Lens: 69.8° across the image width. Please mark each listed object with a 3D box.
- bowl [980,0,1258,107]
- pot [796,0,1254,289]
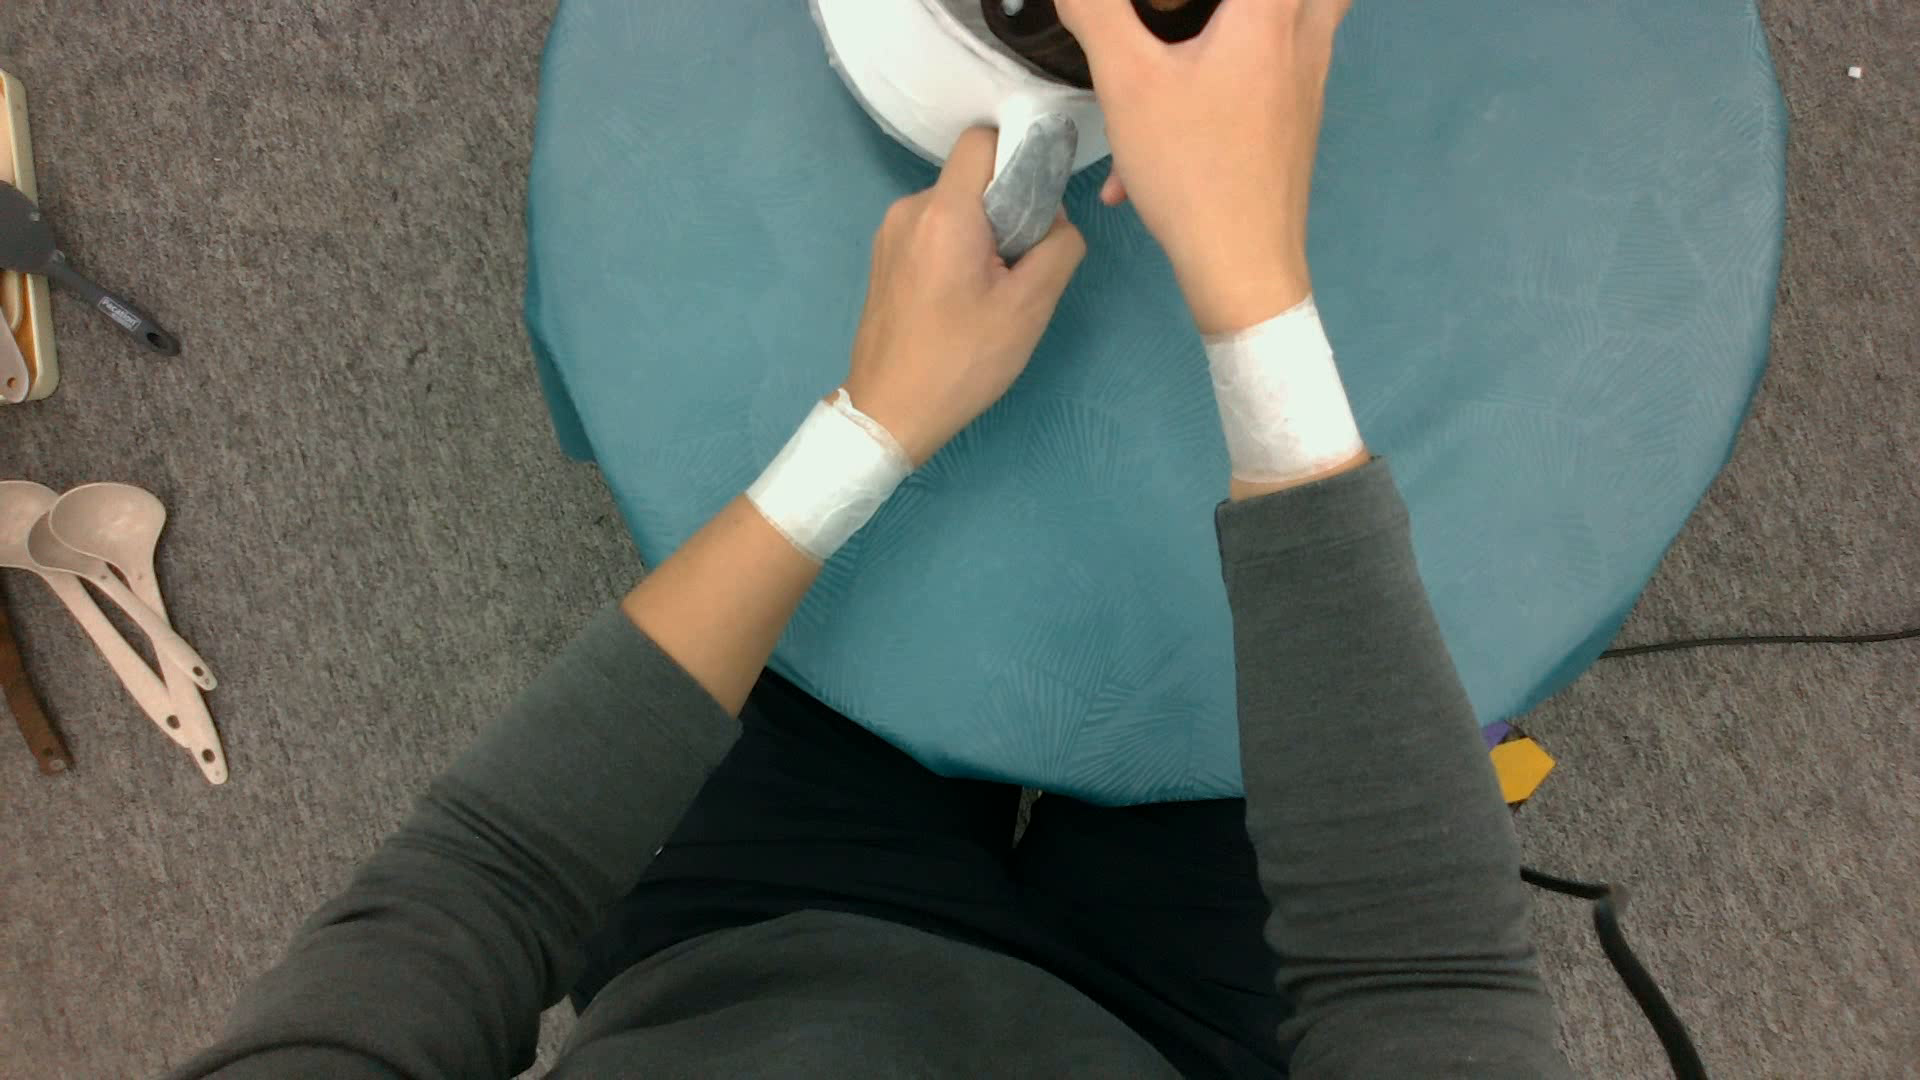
[{"bbox_3d":[0.070,-0.218,0.511,0.070,0.118,0.118,10,86,-39],"label":"bowl"},{"bbox_3d":[0.022,-0.228,0.582,0.179,0.136,0.234,7,86,-17],"label":"pot"}]
